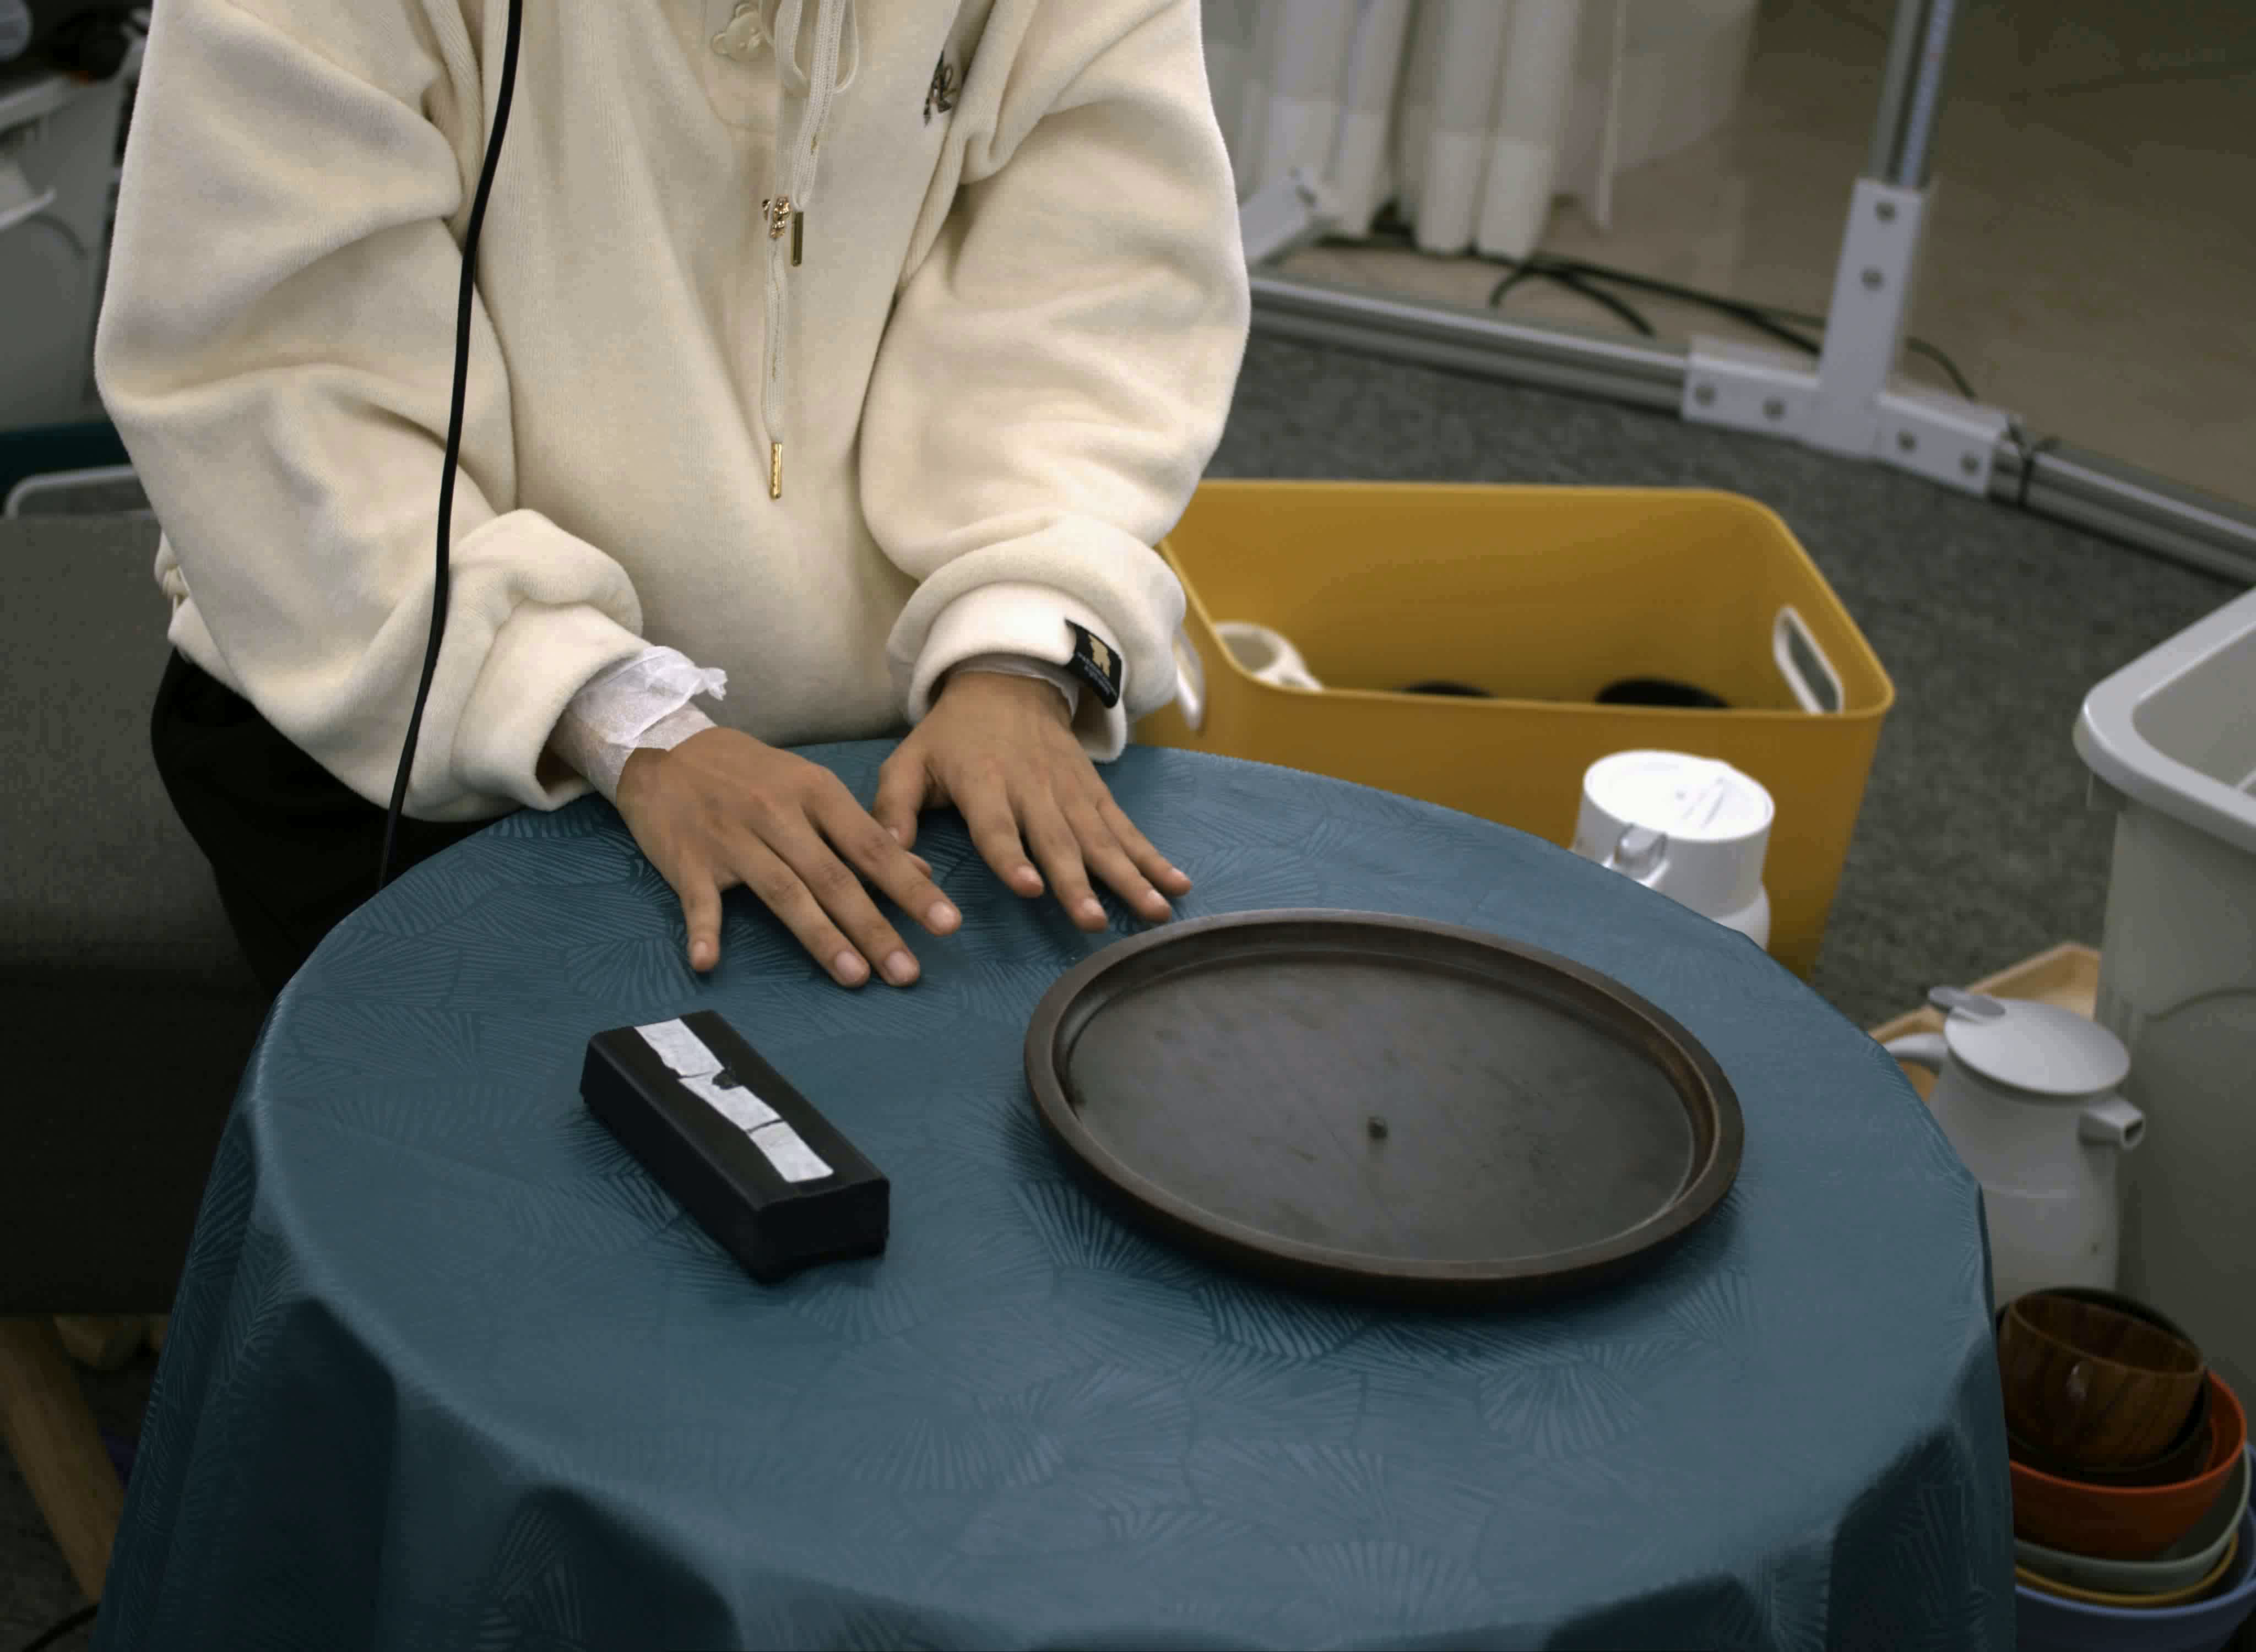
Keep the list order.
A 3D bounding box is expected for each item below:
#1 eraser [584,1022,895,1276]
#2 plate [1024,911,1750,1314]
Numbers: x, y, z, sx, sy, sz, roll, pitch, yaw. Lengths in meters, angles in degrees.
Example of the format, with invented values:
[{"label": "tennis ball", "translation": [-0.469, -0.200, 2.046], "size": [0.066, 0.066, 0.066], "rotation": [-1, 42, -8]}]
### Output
[{"label": "eraser", "translation": [-0.131, 0.107, 1.776], "size": [0.053, 0.030, 0.126], "rotation": [-8, 29, -32]}, {"label": "plate", "translation": [0.089, 0.097, 1.847], "size": [0.254, 0.029, 0.256], "rotation": [5, 28, -3]}]
